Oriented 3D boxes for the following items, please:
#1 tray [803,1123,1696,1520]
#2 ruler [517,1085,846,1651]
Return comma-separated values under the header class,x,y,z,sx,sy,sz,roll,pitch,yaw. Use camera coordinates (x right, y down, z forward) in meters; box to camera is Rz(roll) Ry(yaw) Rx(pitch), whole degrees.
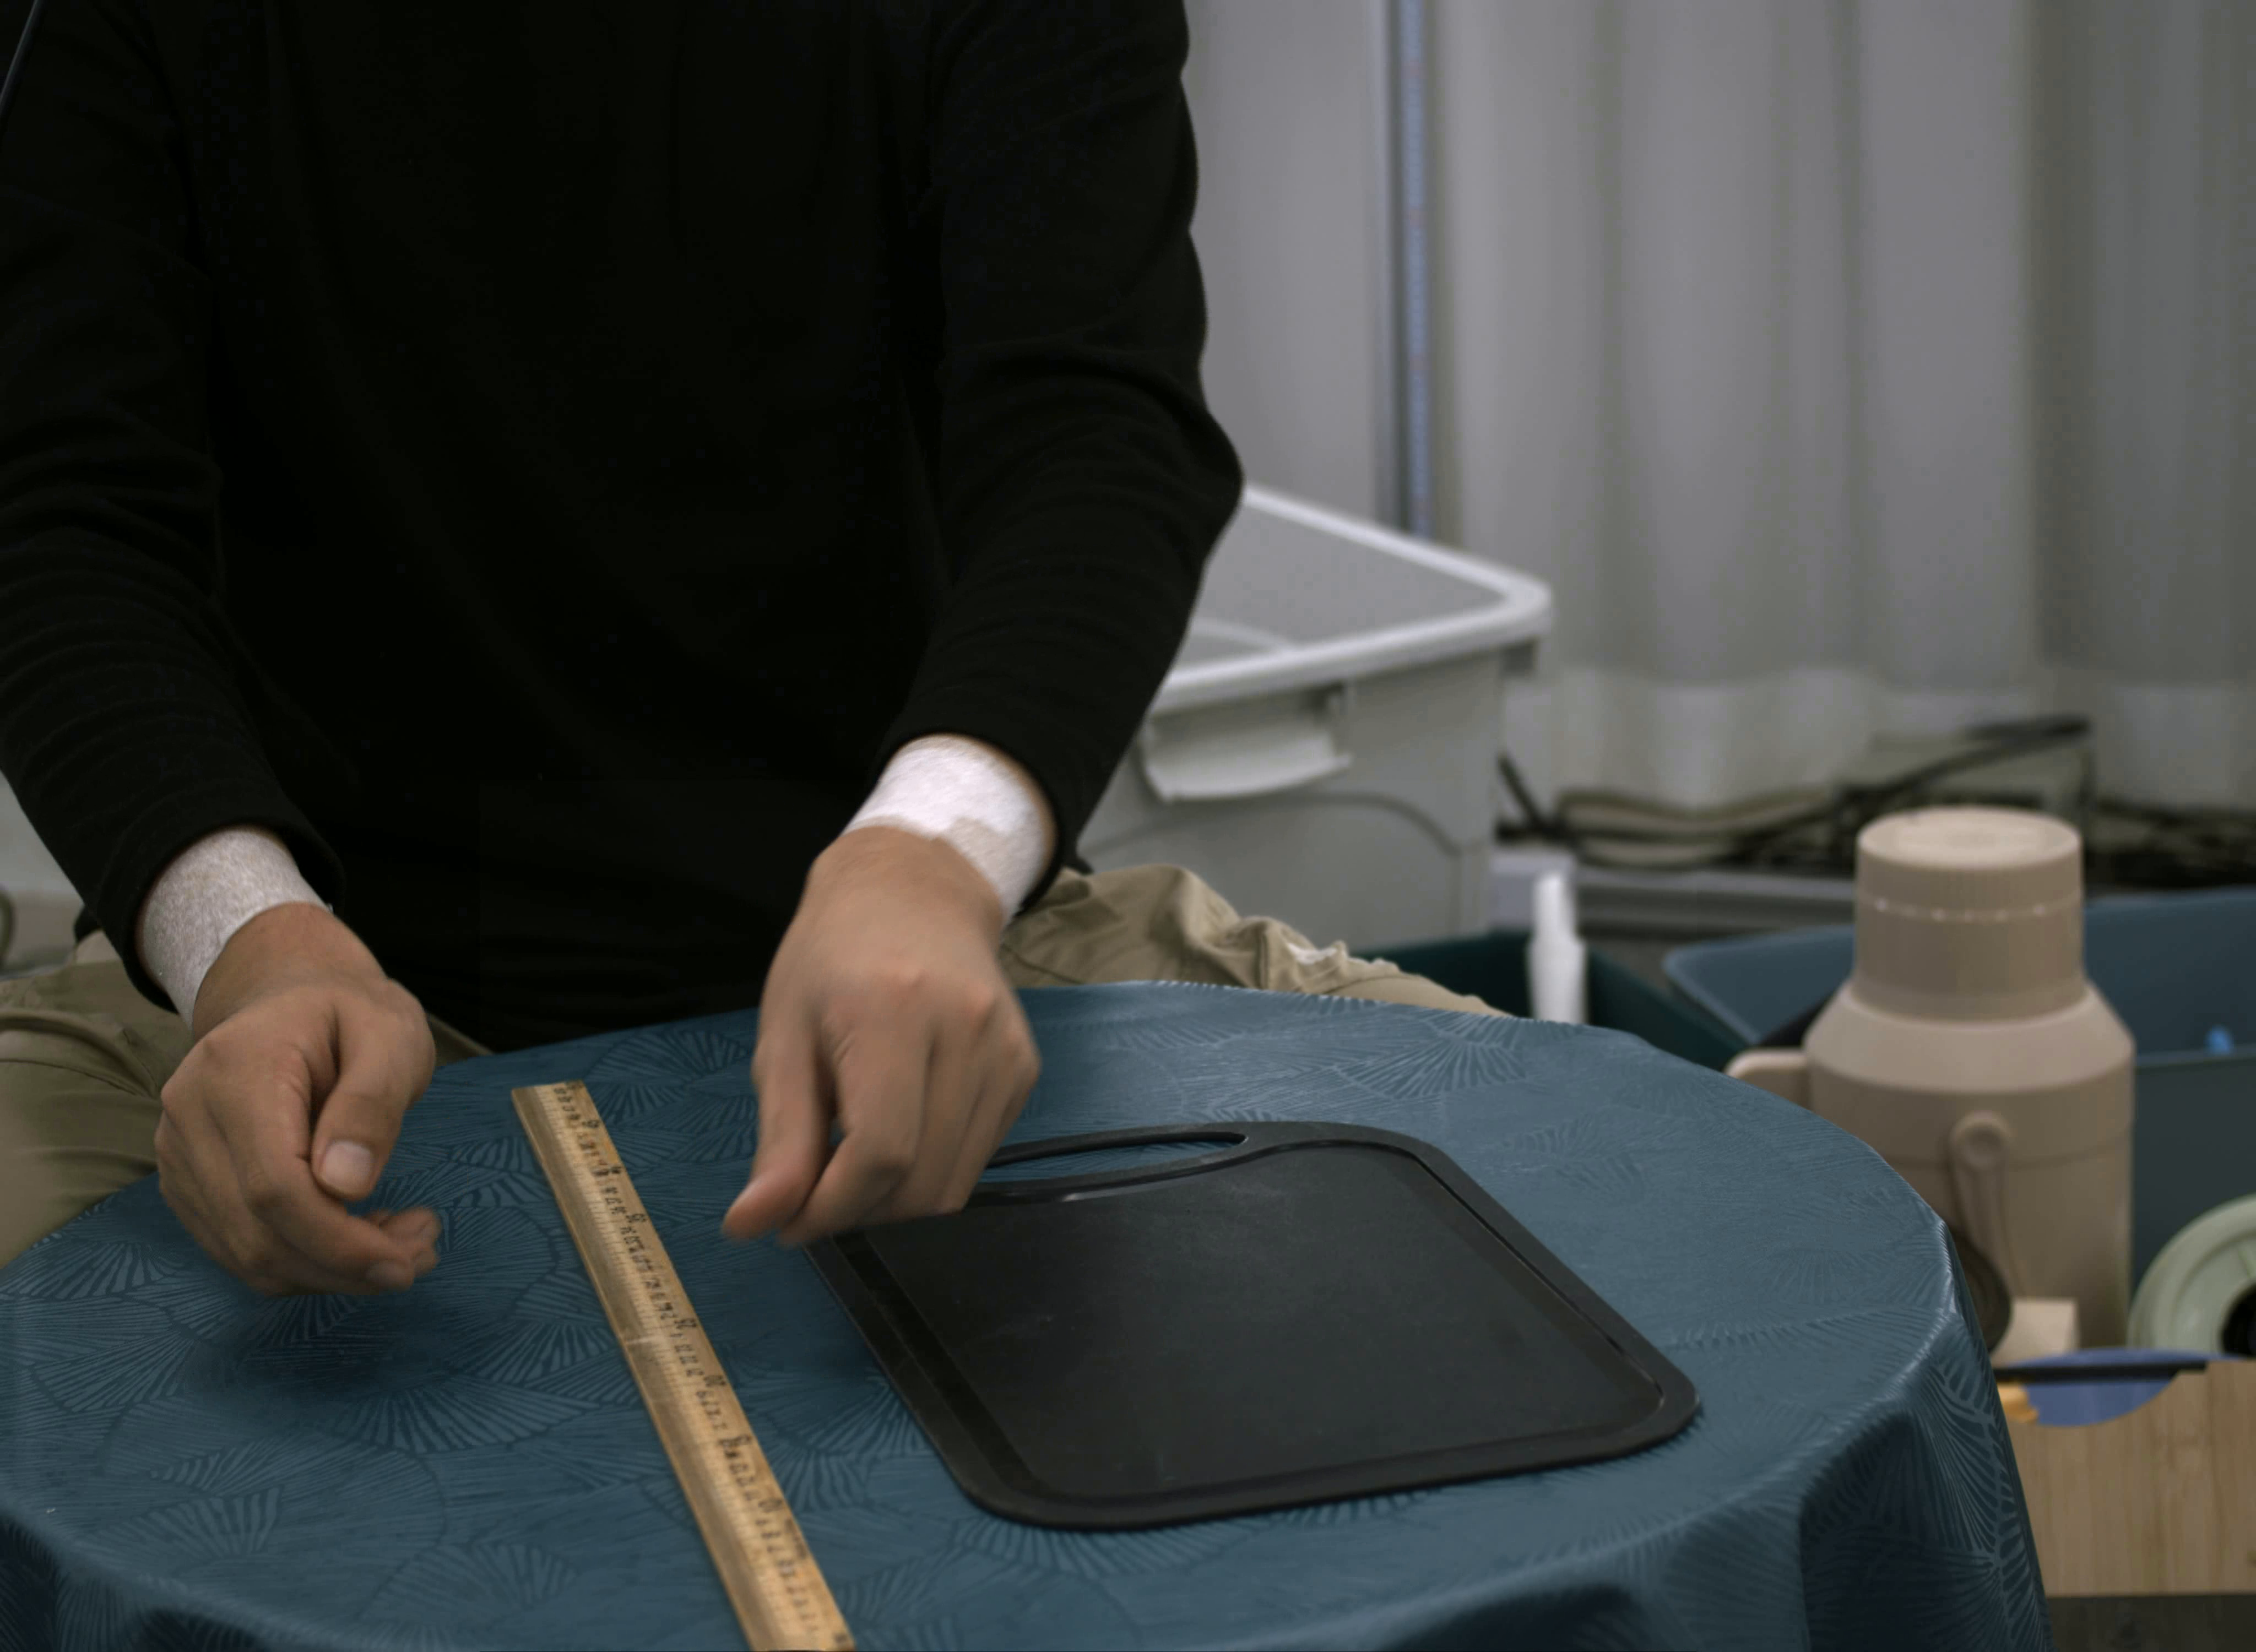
class,x,y,z,sx,sy,sz,roll,pitch,yaw
tray,0.025,0.138,1.609,0.210,0.010,0.328,-6,15,-13
ruler,-0.137,0.149,1.600,0.026,0.006,0.504,-4,15,-12
